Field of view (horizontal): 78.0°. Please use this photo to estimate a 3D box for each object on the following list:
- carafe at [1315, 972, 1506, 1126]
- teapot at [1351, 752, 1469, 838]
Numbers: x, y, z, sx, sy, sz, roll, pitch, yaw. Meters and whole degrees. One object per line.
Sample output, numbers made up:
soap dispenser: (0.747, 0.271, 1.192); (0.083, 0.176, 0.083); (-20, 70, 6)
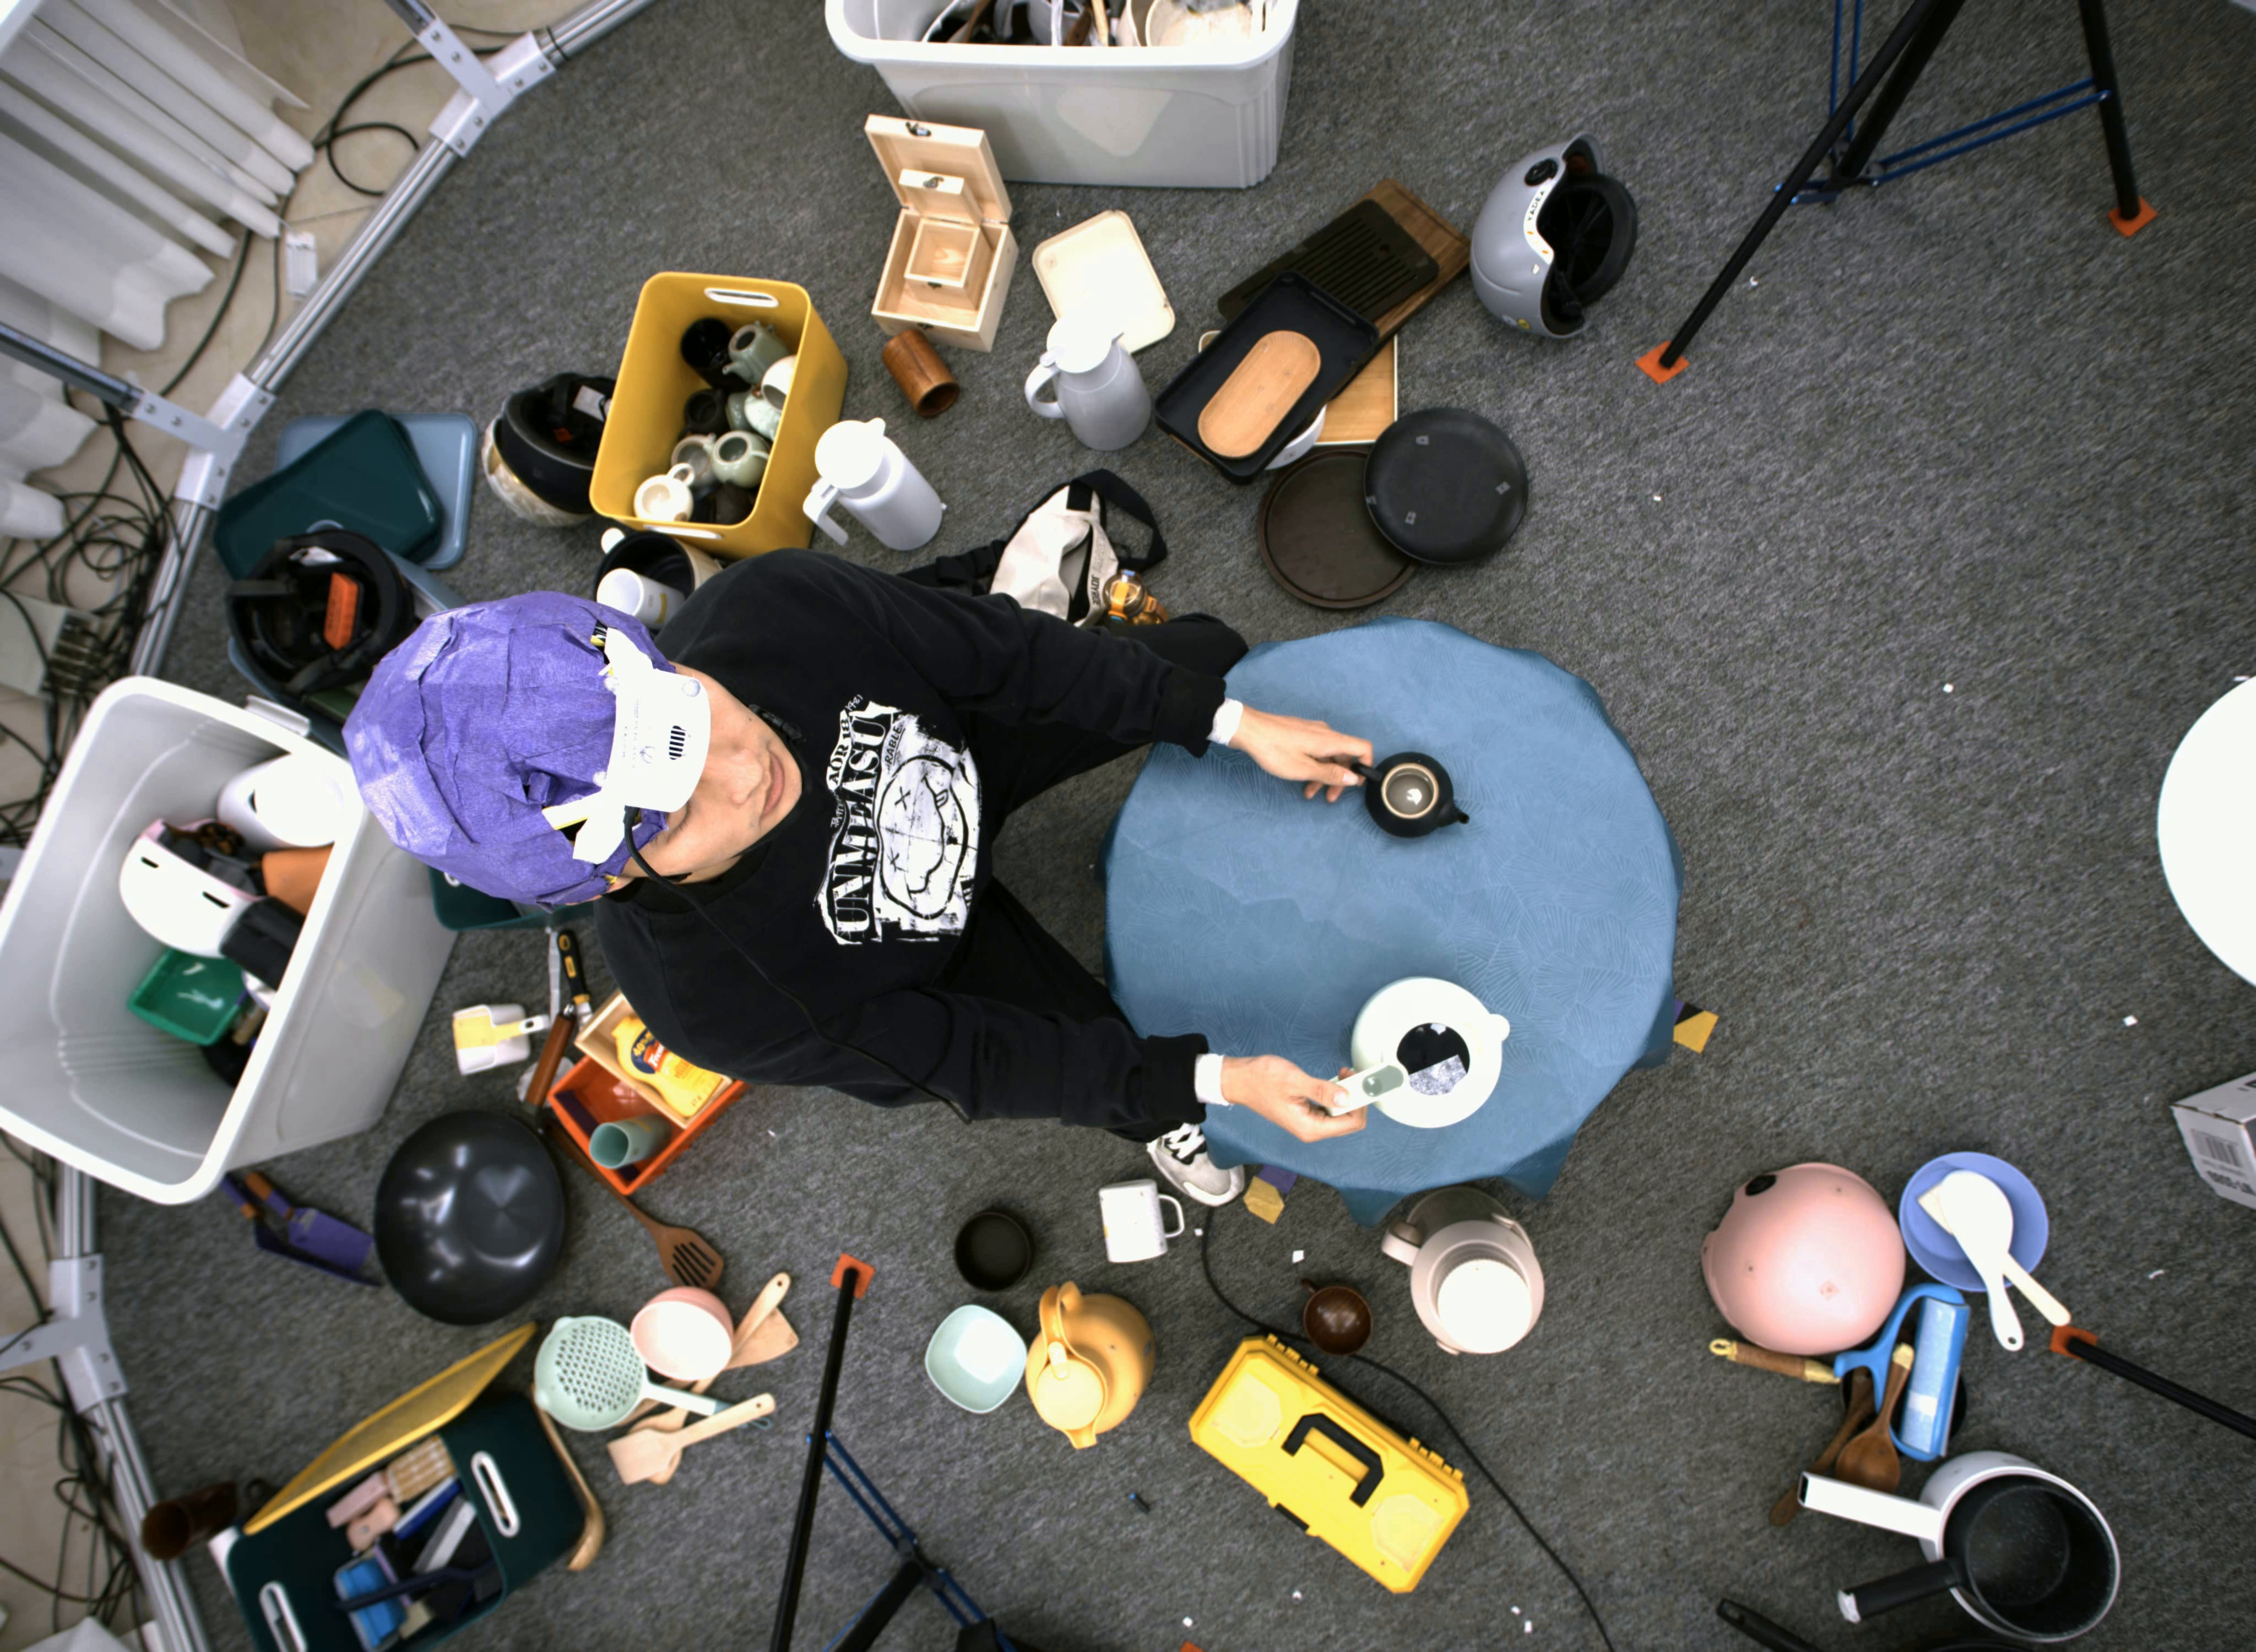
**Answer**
carafe: (0.272, 0.221, 1.327); (0.188, 0.256, 0.143); (-27, 82, 10)
teapot: (0.293, -0.035, 1.435); (0.133, 0.053, 0.091); (27, 90, 10)
